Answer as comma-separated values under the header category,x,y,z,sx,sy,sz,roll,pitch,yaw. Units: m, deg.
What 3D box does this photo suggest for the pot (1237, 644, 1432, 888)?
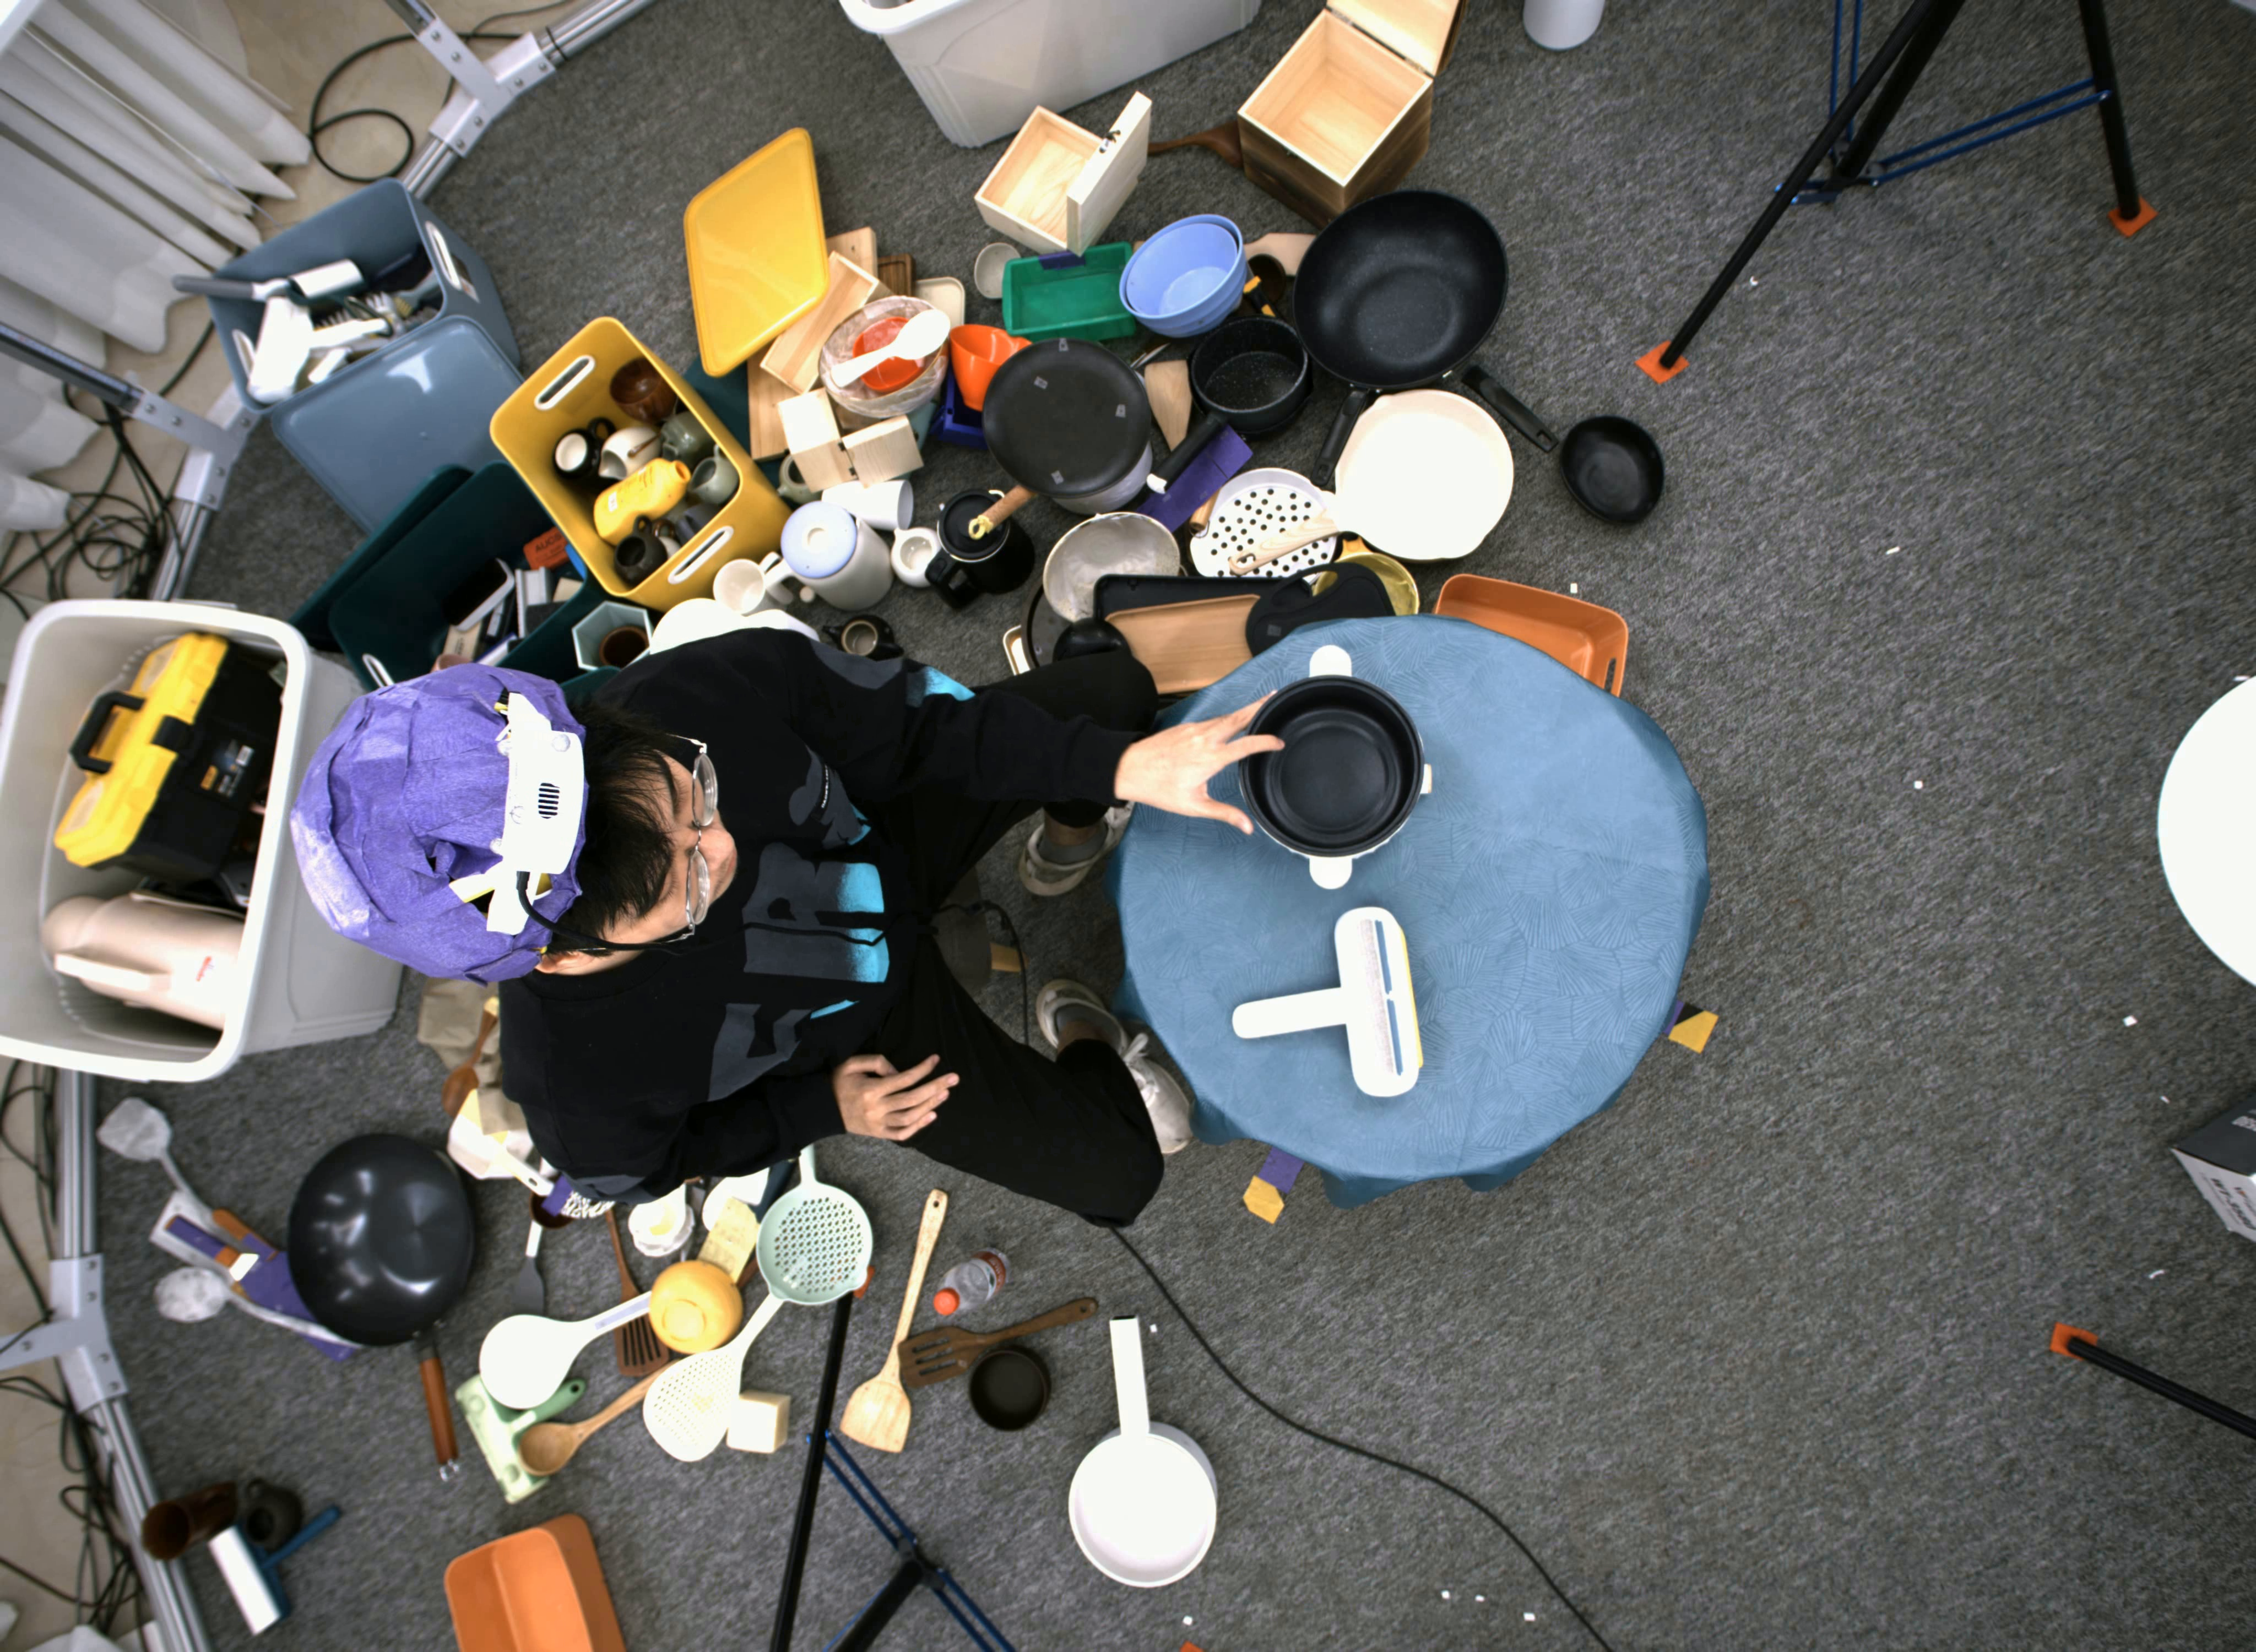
category,x,y,z,sx,sy,sz,roll,pitch,yaw
pot,0.212,-0.056,1.401,0.191,0.142,0.239,-1,88,13

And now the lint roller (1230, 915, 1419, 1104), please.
category,x,y,z,sx,sy,sz,roll,pitch,yaw
lint roller,0.198,0.191,1.429,0.193,0.074,0.191,-5,80,12
